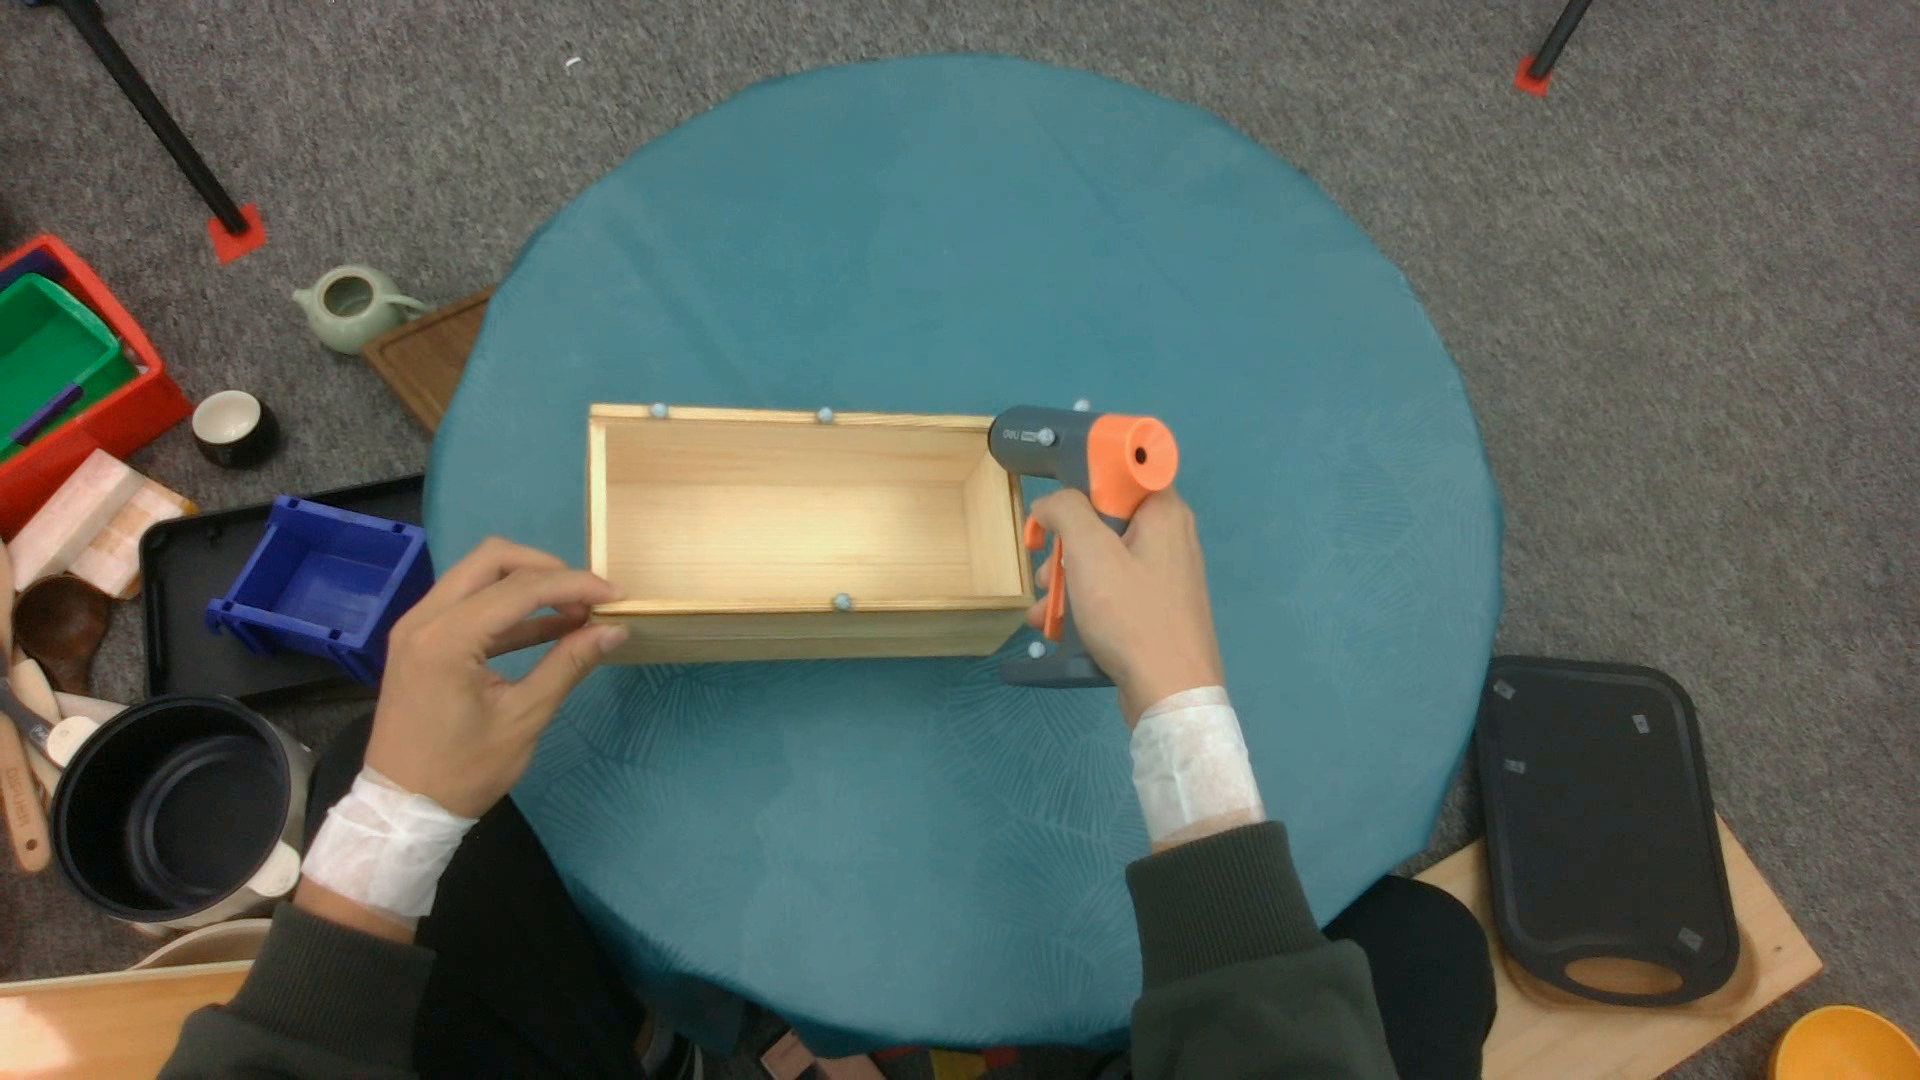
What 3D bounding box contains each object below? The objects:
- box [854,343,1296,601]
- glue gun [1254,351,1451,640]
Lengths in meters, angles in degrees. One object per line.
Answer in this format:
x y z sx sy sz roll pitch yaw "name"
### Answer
0.053 -0.032 0.705 0.211 0.080 0.108 1 72 -6 "box"
0.170 -0.026 0.632 0.041 0.117 0.140 9 81 -23 "glue gun"
